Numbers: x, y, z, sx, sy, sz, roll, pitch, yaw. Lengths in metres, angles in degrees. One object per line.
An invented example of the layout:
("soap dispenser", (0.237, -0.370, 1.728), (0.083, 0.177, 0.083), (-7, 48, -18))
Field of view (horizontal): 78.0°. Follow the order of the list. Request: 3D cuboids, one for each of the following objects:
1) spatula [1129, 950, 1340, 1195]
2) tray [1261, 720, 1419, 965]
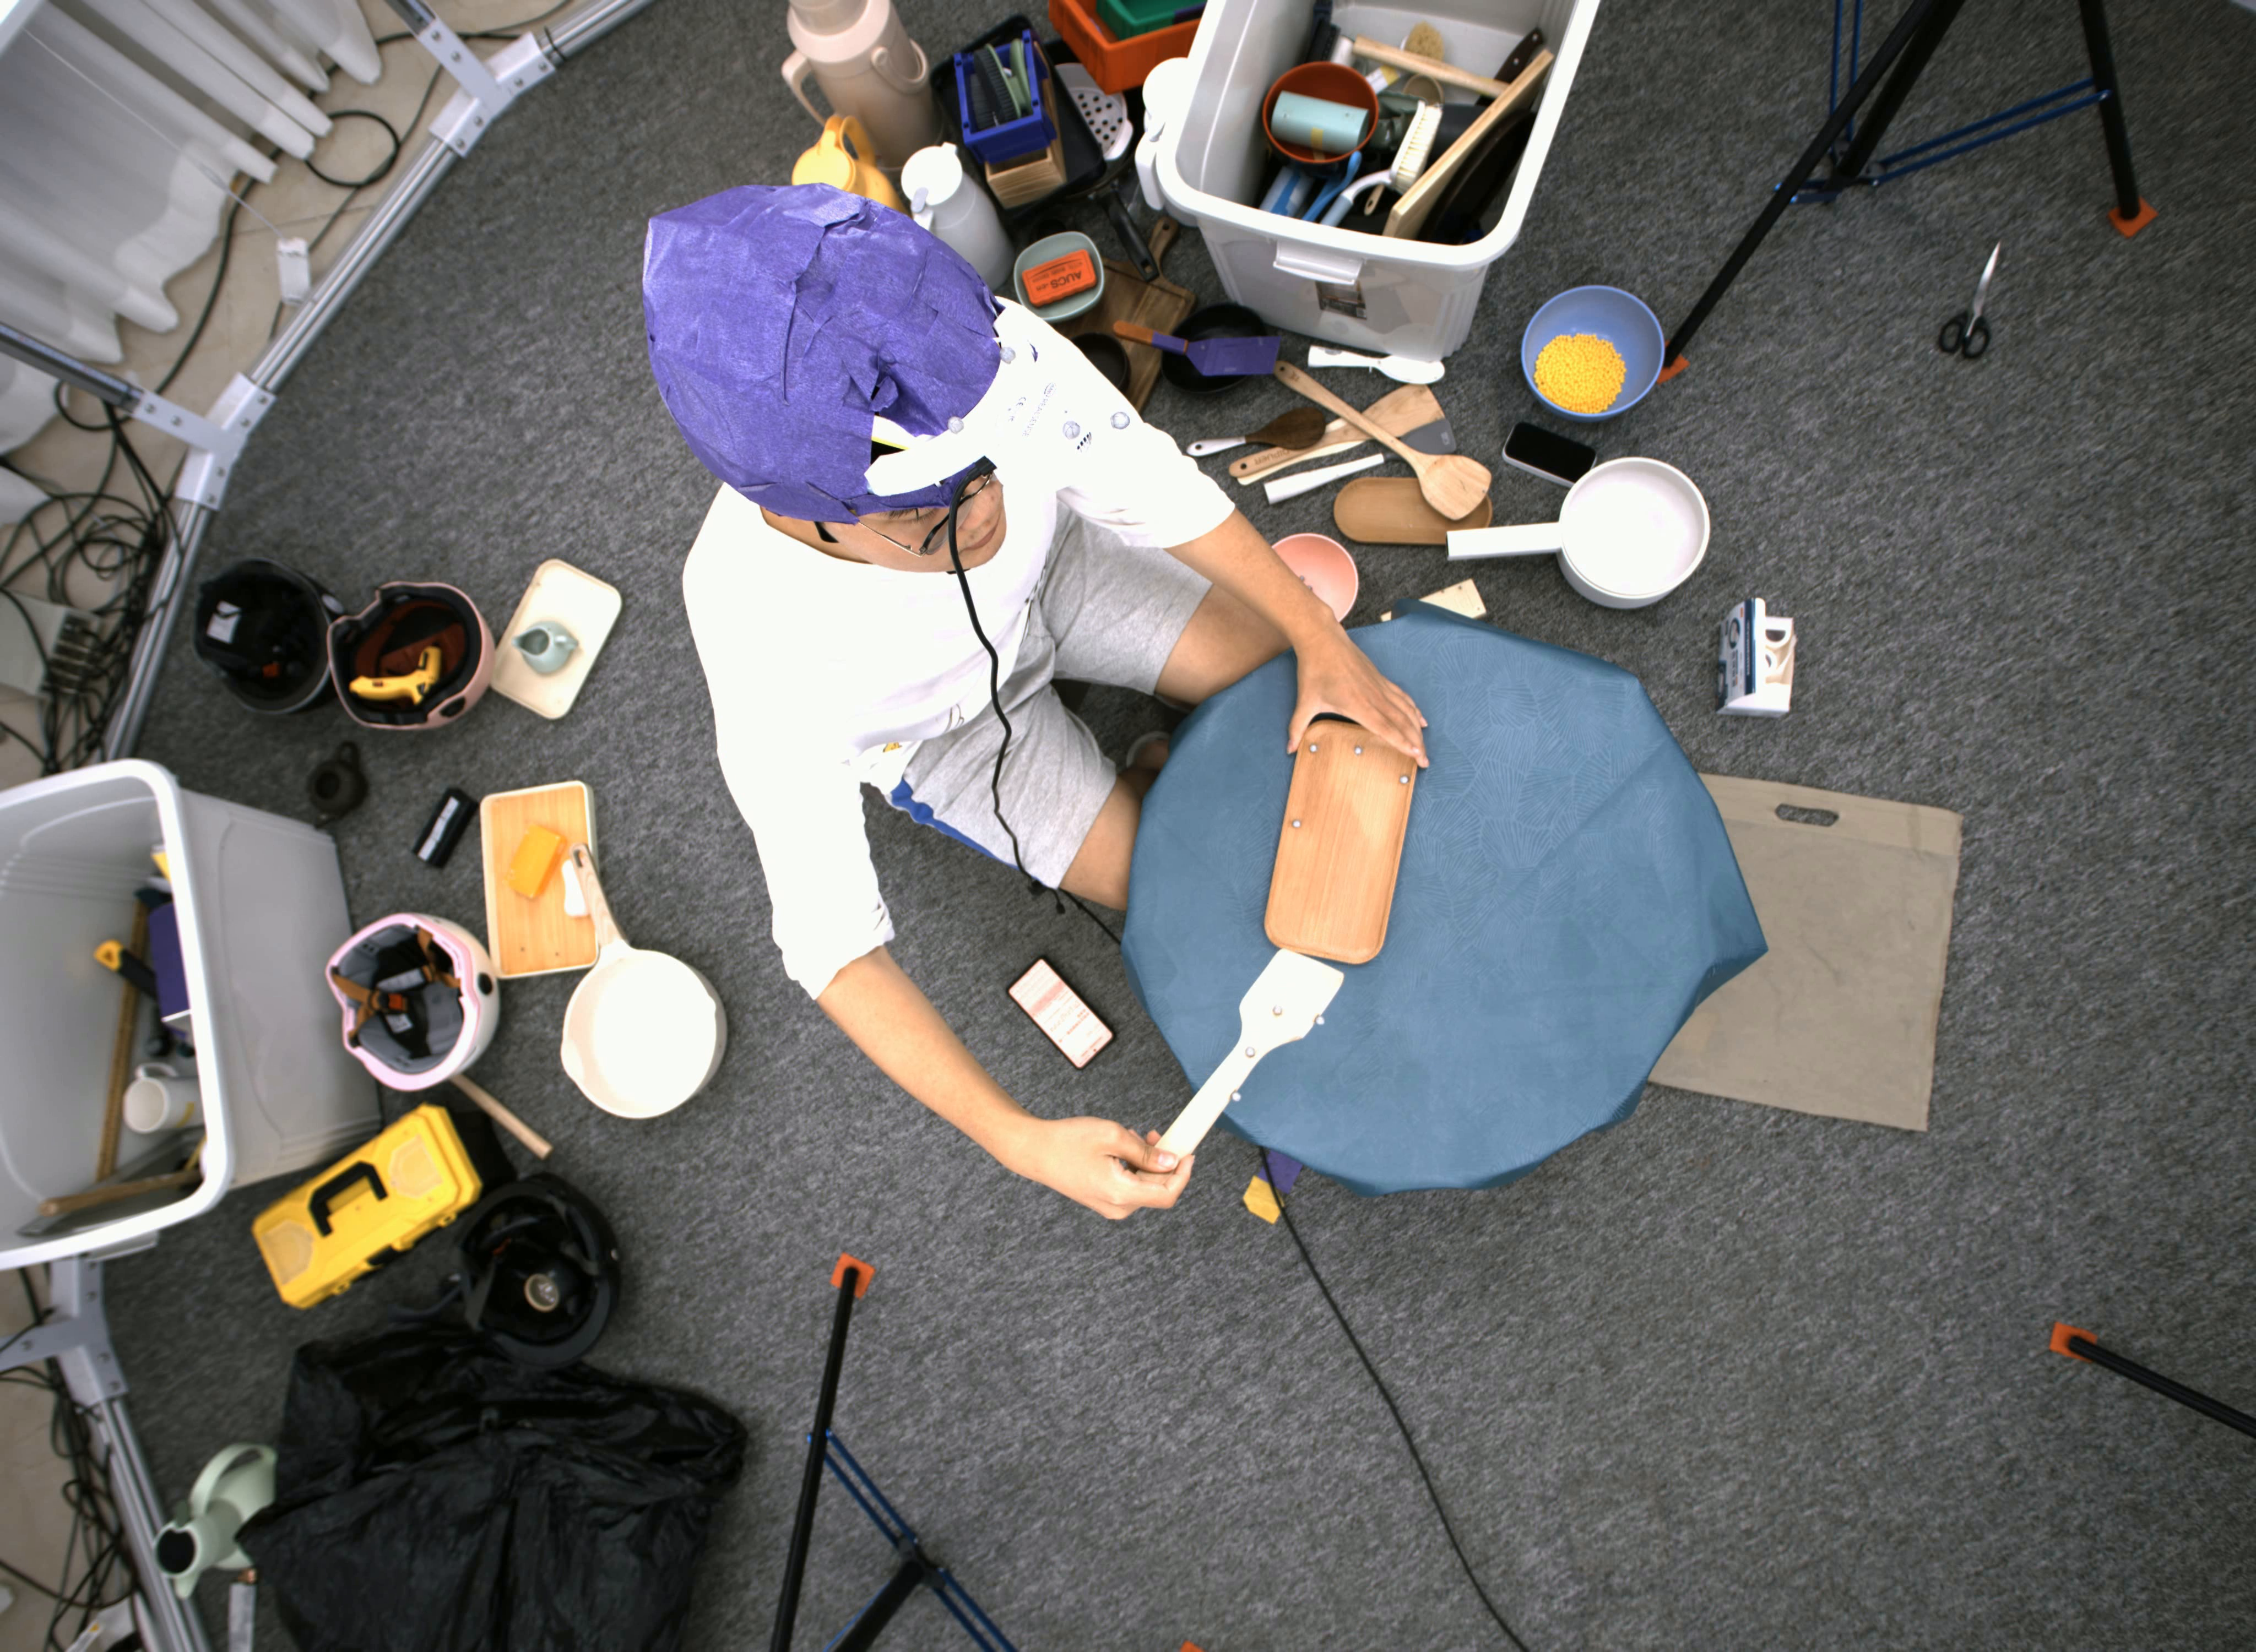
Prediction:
("spatula", (0.092, 0.214, 1.223), (0.072, 0.011, 0.286), (23, 50, 27))
("tray", (0.225, 0.016, 1.464), (0.131, 0.023, 0.250), (13, 90, 14))
